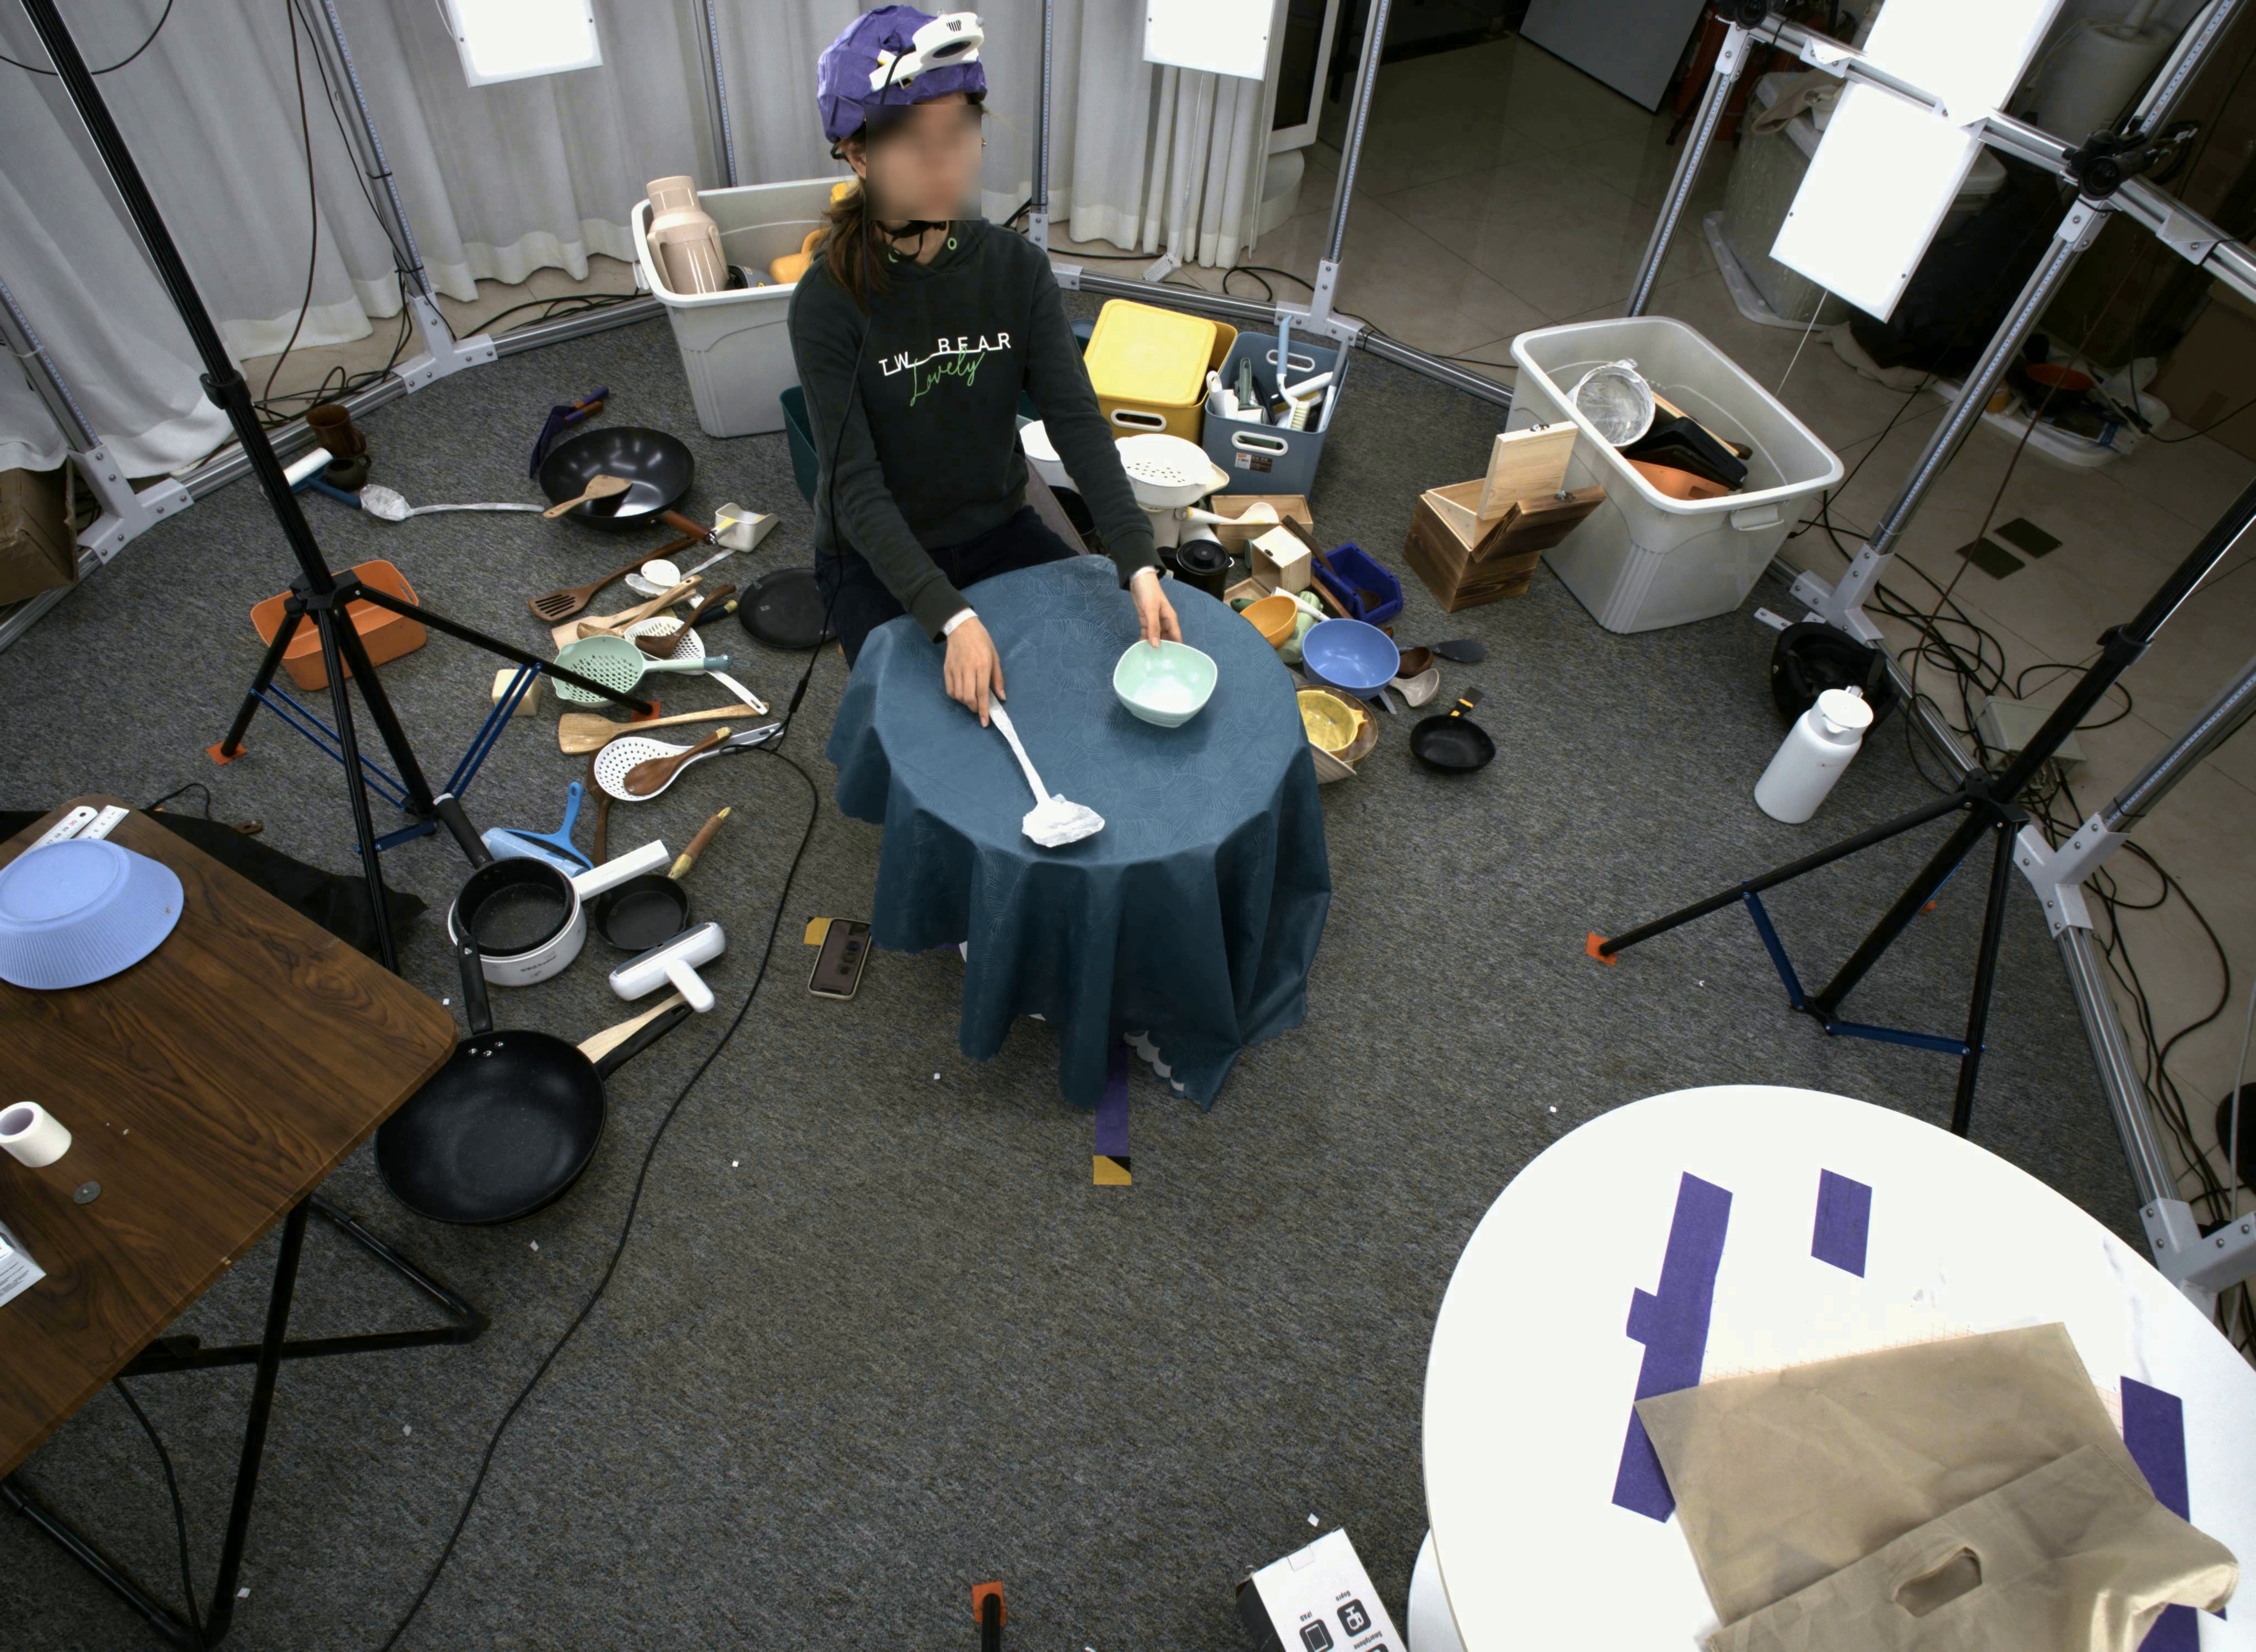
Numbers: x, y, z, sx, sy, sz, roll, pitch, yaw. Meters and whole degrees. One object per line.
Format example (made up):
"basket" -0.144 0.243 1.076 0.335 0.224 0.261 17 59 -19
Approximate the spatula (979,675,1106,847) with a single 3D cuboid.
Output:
"spatula" -0.139 -0.099 1.736 0.099 0.043 0.373 -18 52 -16

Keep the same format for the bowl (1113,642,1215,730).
"bowl" 0.049 -0.190 1.820 0.151 0.057 0.155 3 49 -4
